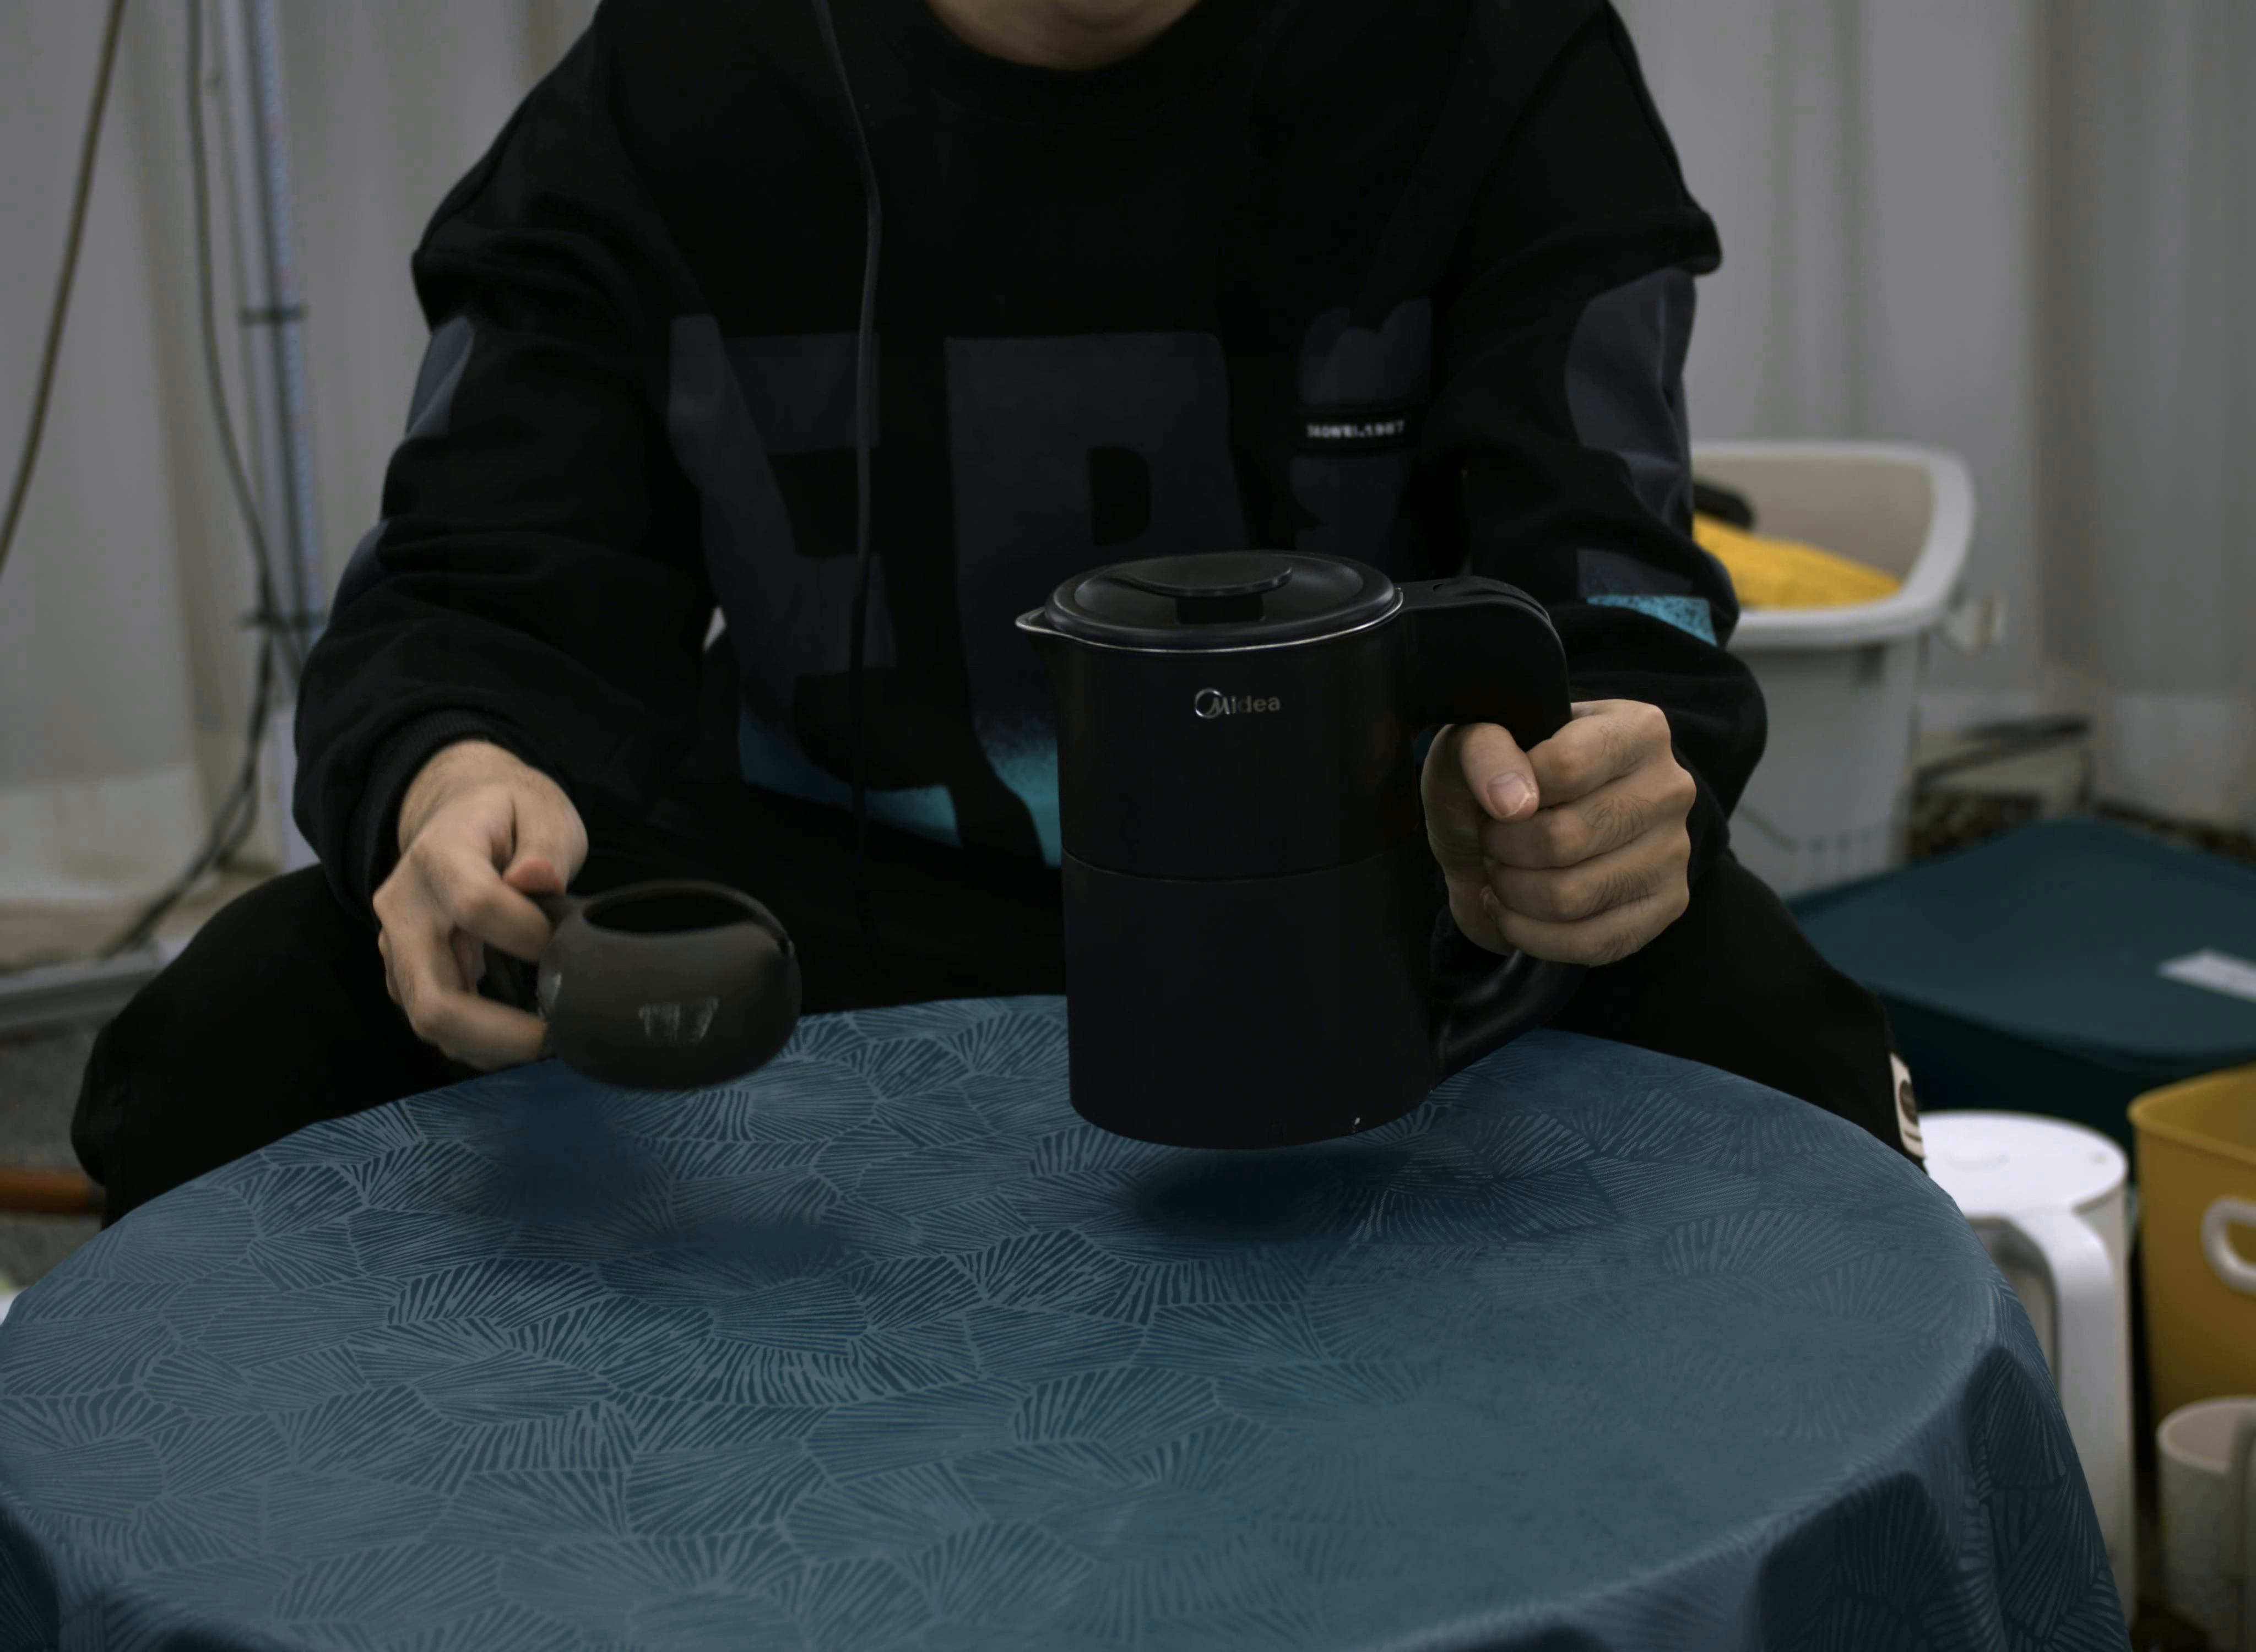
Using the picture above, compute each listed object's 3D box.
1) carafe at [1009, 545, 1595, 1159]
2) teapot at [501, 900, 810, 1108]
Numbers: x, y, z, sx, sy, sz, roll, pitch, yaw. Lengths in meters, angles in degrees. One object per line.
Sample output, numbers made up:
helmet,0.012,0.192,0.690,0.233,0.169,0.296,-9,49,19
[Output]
carafe,0.055,-0.001,1.680,0.171,0.173,0.115,-7,13,-5
teapot,-0.148,0.052,1.688,0.114,0.053,0.083,14,21,33
